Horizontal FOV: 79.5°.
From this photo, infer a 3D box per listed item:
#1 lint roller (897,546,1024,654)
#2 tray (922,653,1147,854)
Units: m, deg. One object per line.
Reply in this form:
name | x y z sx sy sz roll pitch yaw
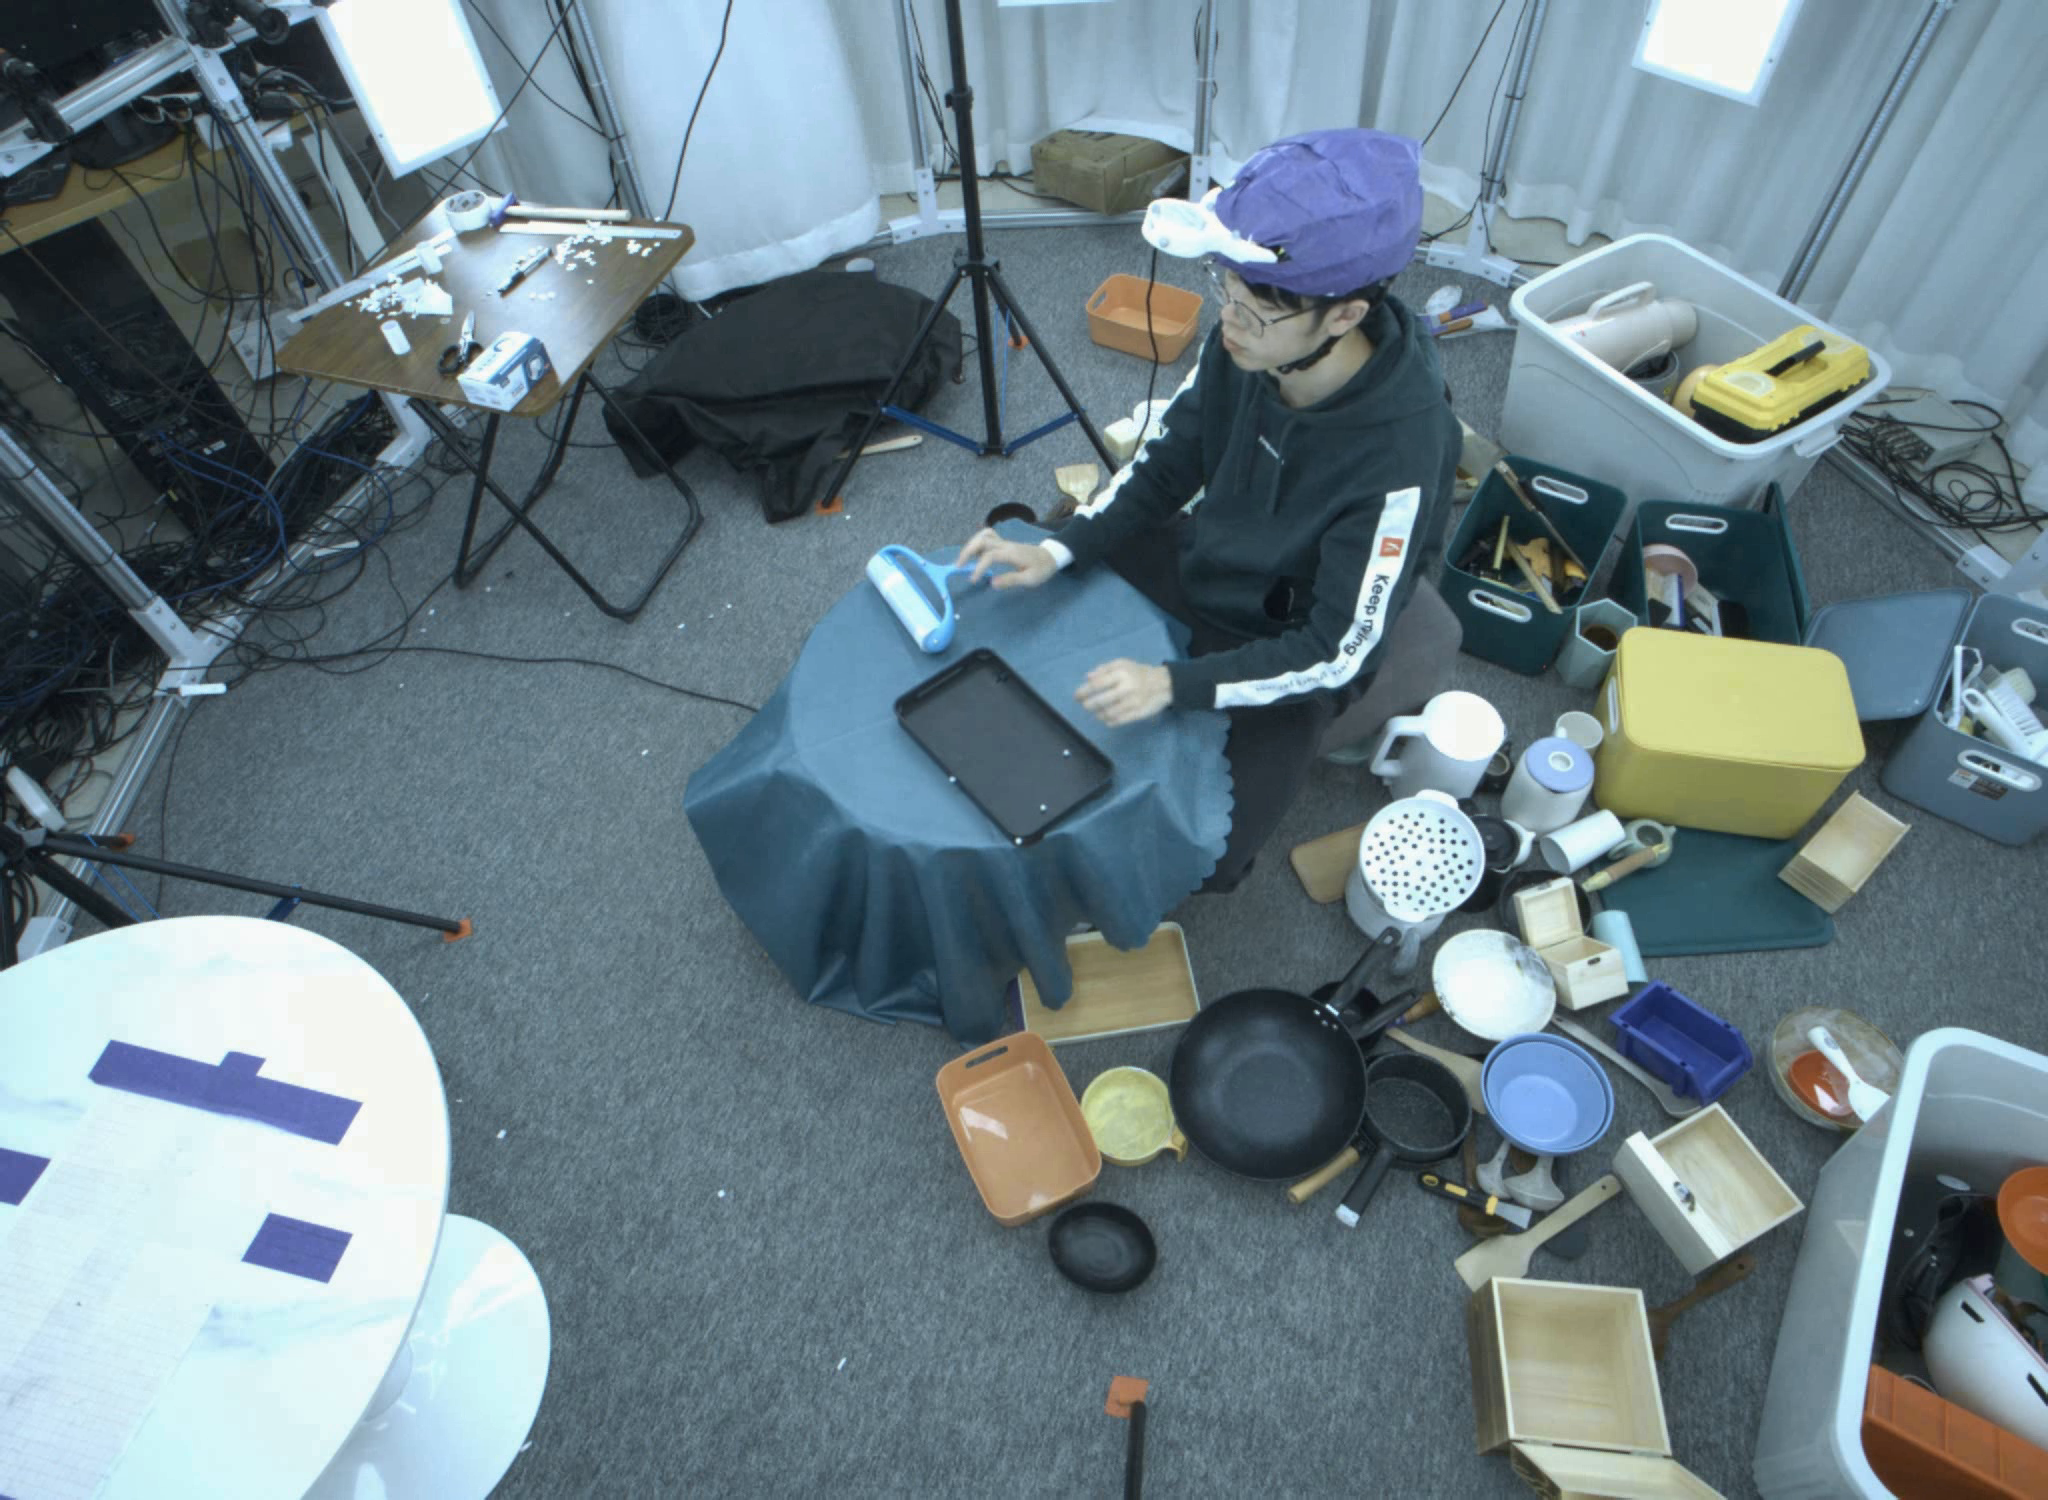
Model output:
lint roller | -0.085 -0.260 1.936 0.181 0.069 0.224 -29 56 -16
tray | 0.012 -0.001 1.762 0.186 0.037 0.312 -33 59 -20
